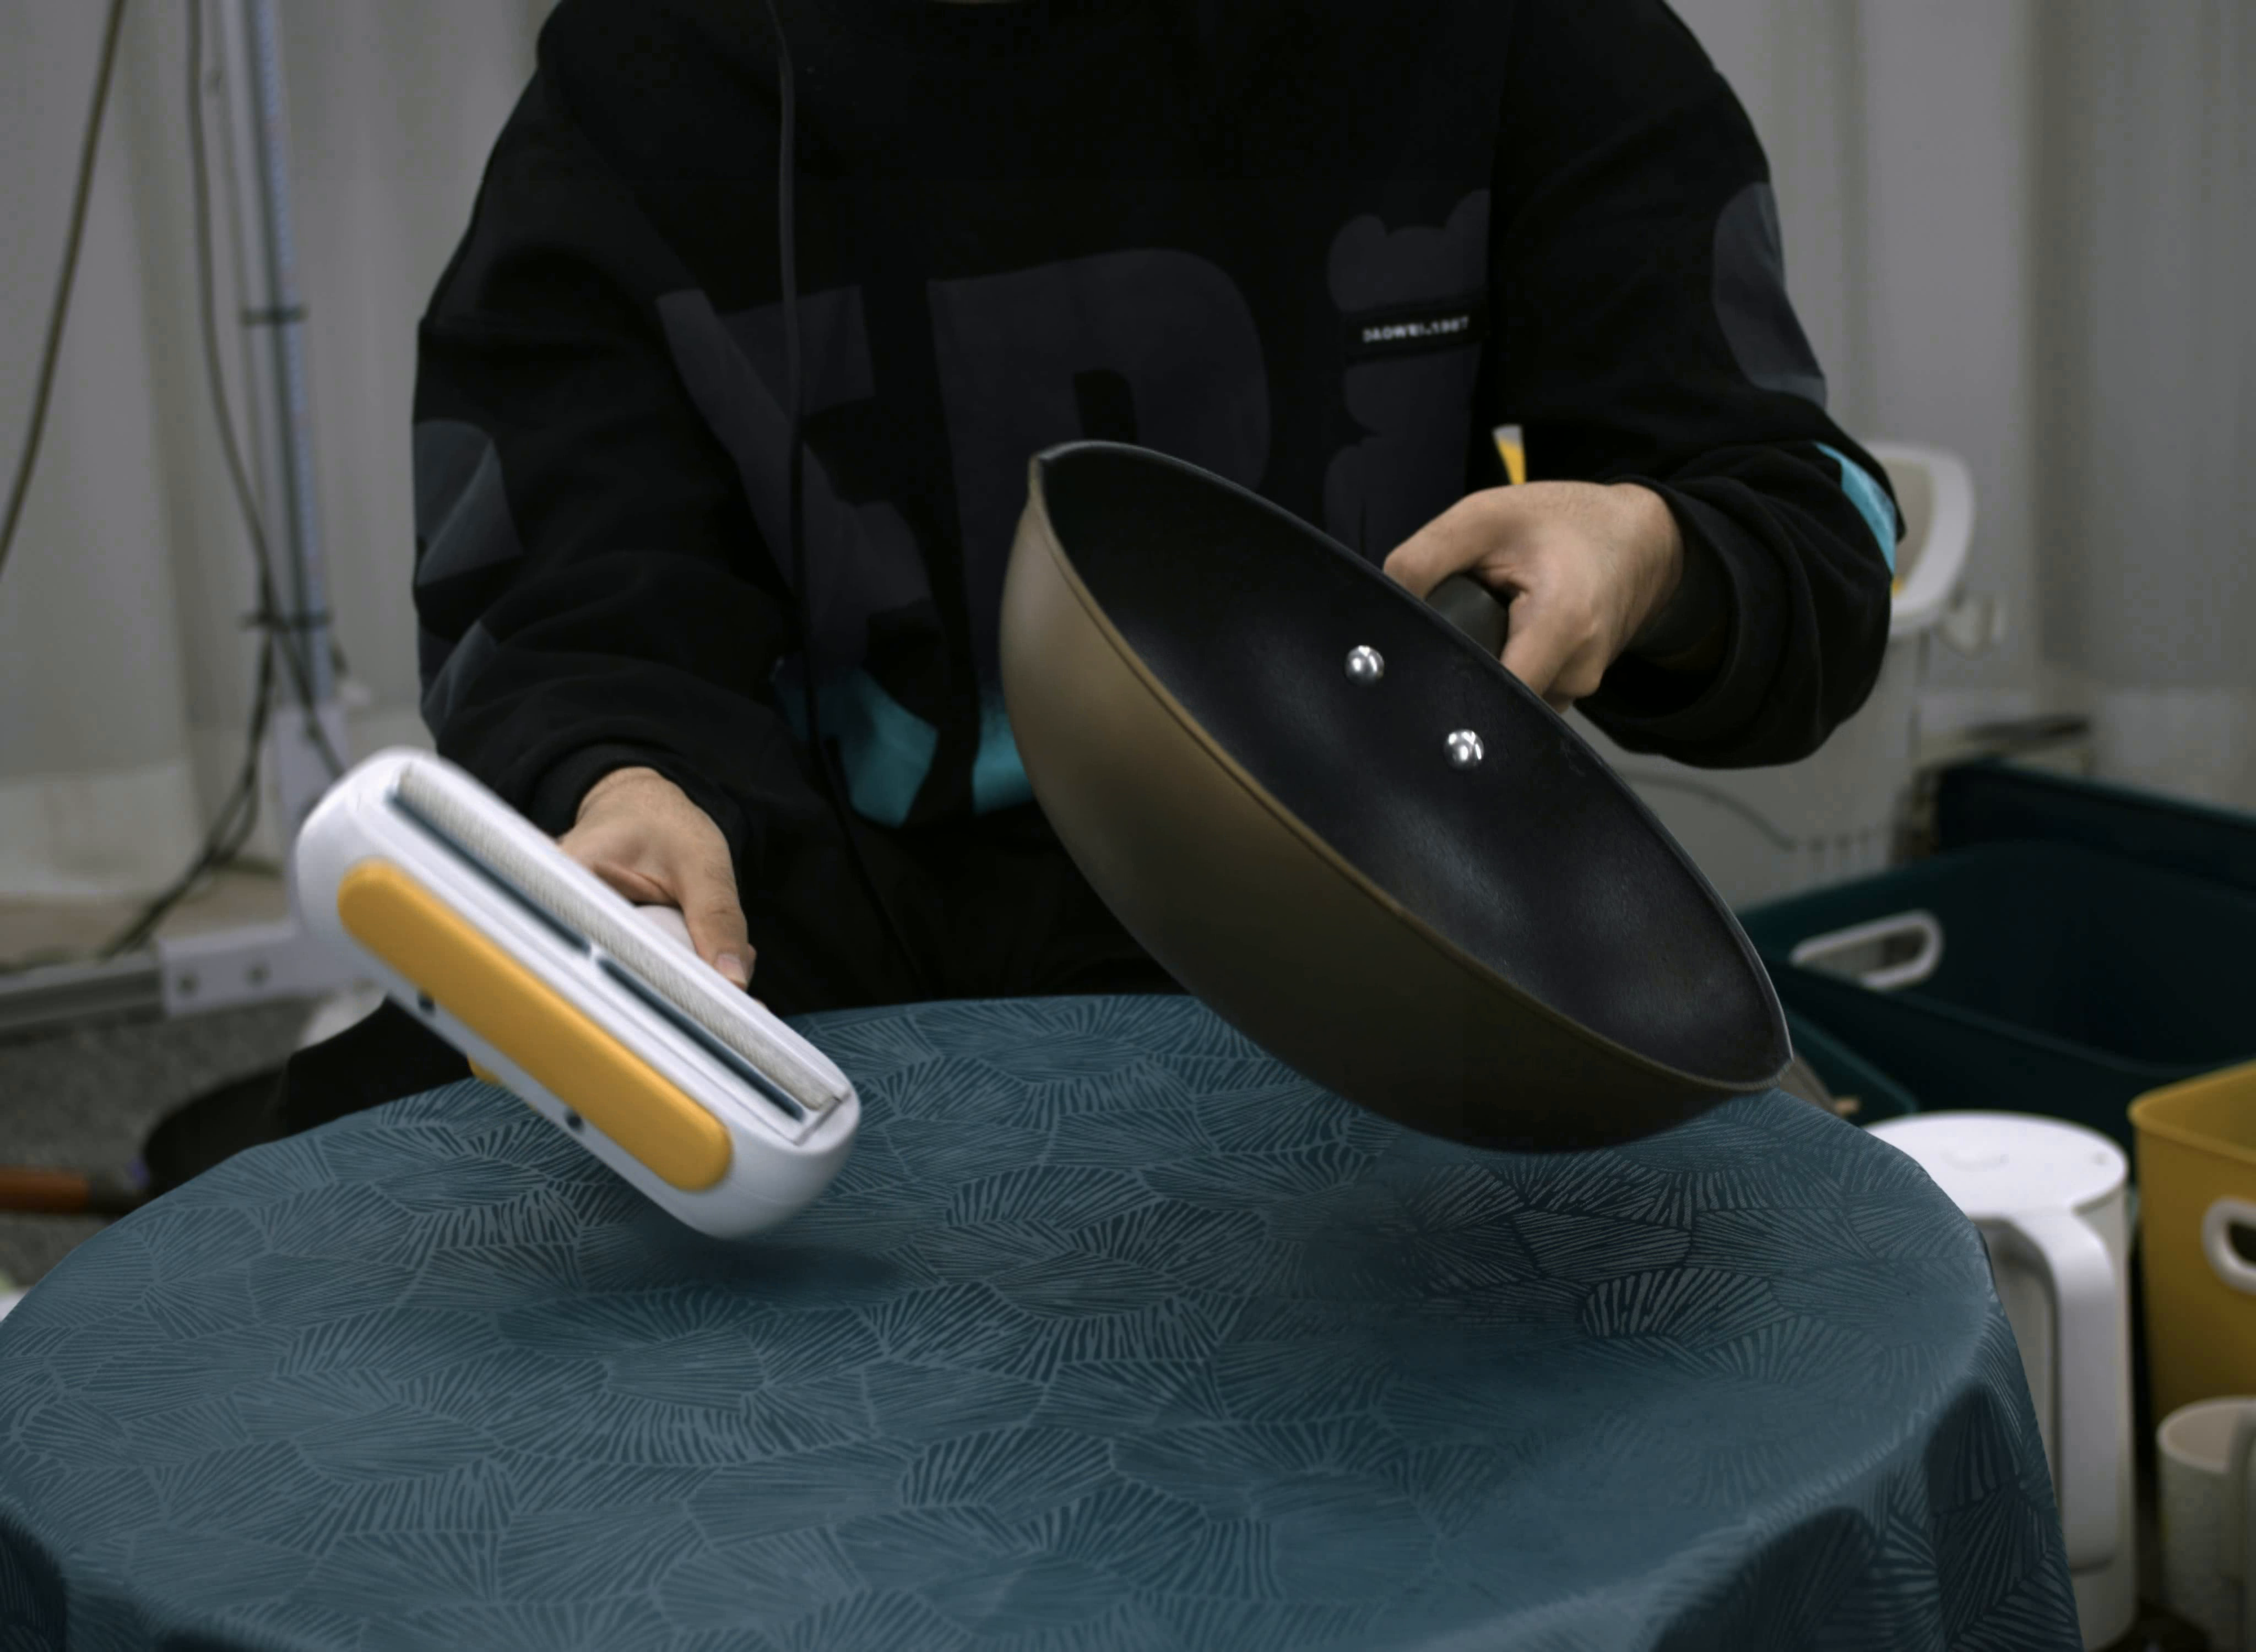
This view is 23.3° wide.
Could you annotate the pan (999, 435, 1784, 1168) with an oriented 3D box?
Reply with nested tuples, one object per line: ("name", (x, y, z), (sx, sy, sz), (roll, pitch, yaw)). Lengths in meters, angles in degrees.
("pan", (0.076, -0.017, 1.705), (0.287, 0.086, 0.466), (40, 18, -3))

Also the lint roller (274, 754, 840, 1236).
("lint roller", (-0.159, 0.045, 1.719), (0.193, 0.074, 0.193), (33, 20, 9))
